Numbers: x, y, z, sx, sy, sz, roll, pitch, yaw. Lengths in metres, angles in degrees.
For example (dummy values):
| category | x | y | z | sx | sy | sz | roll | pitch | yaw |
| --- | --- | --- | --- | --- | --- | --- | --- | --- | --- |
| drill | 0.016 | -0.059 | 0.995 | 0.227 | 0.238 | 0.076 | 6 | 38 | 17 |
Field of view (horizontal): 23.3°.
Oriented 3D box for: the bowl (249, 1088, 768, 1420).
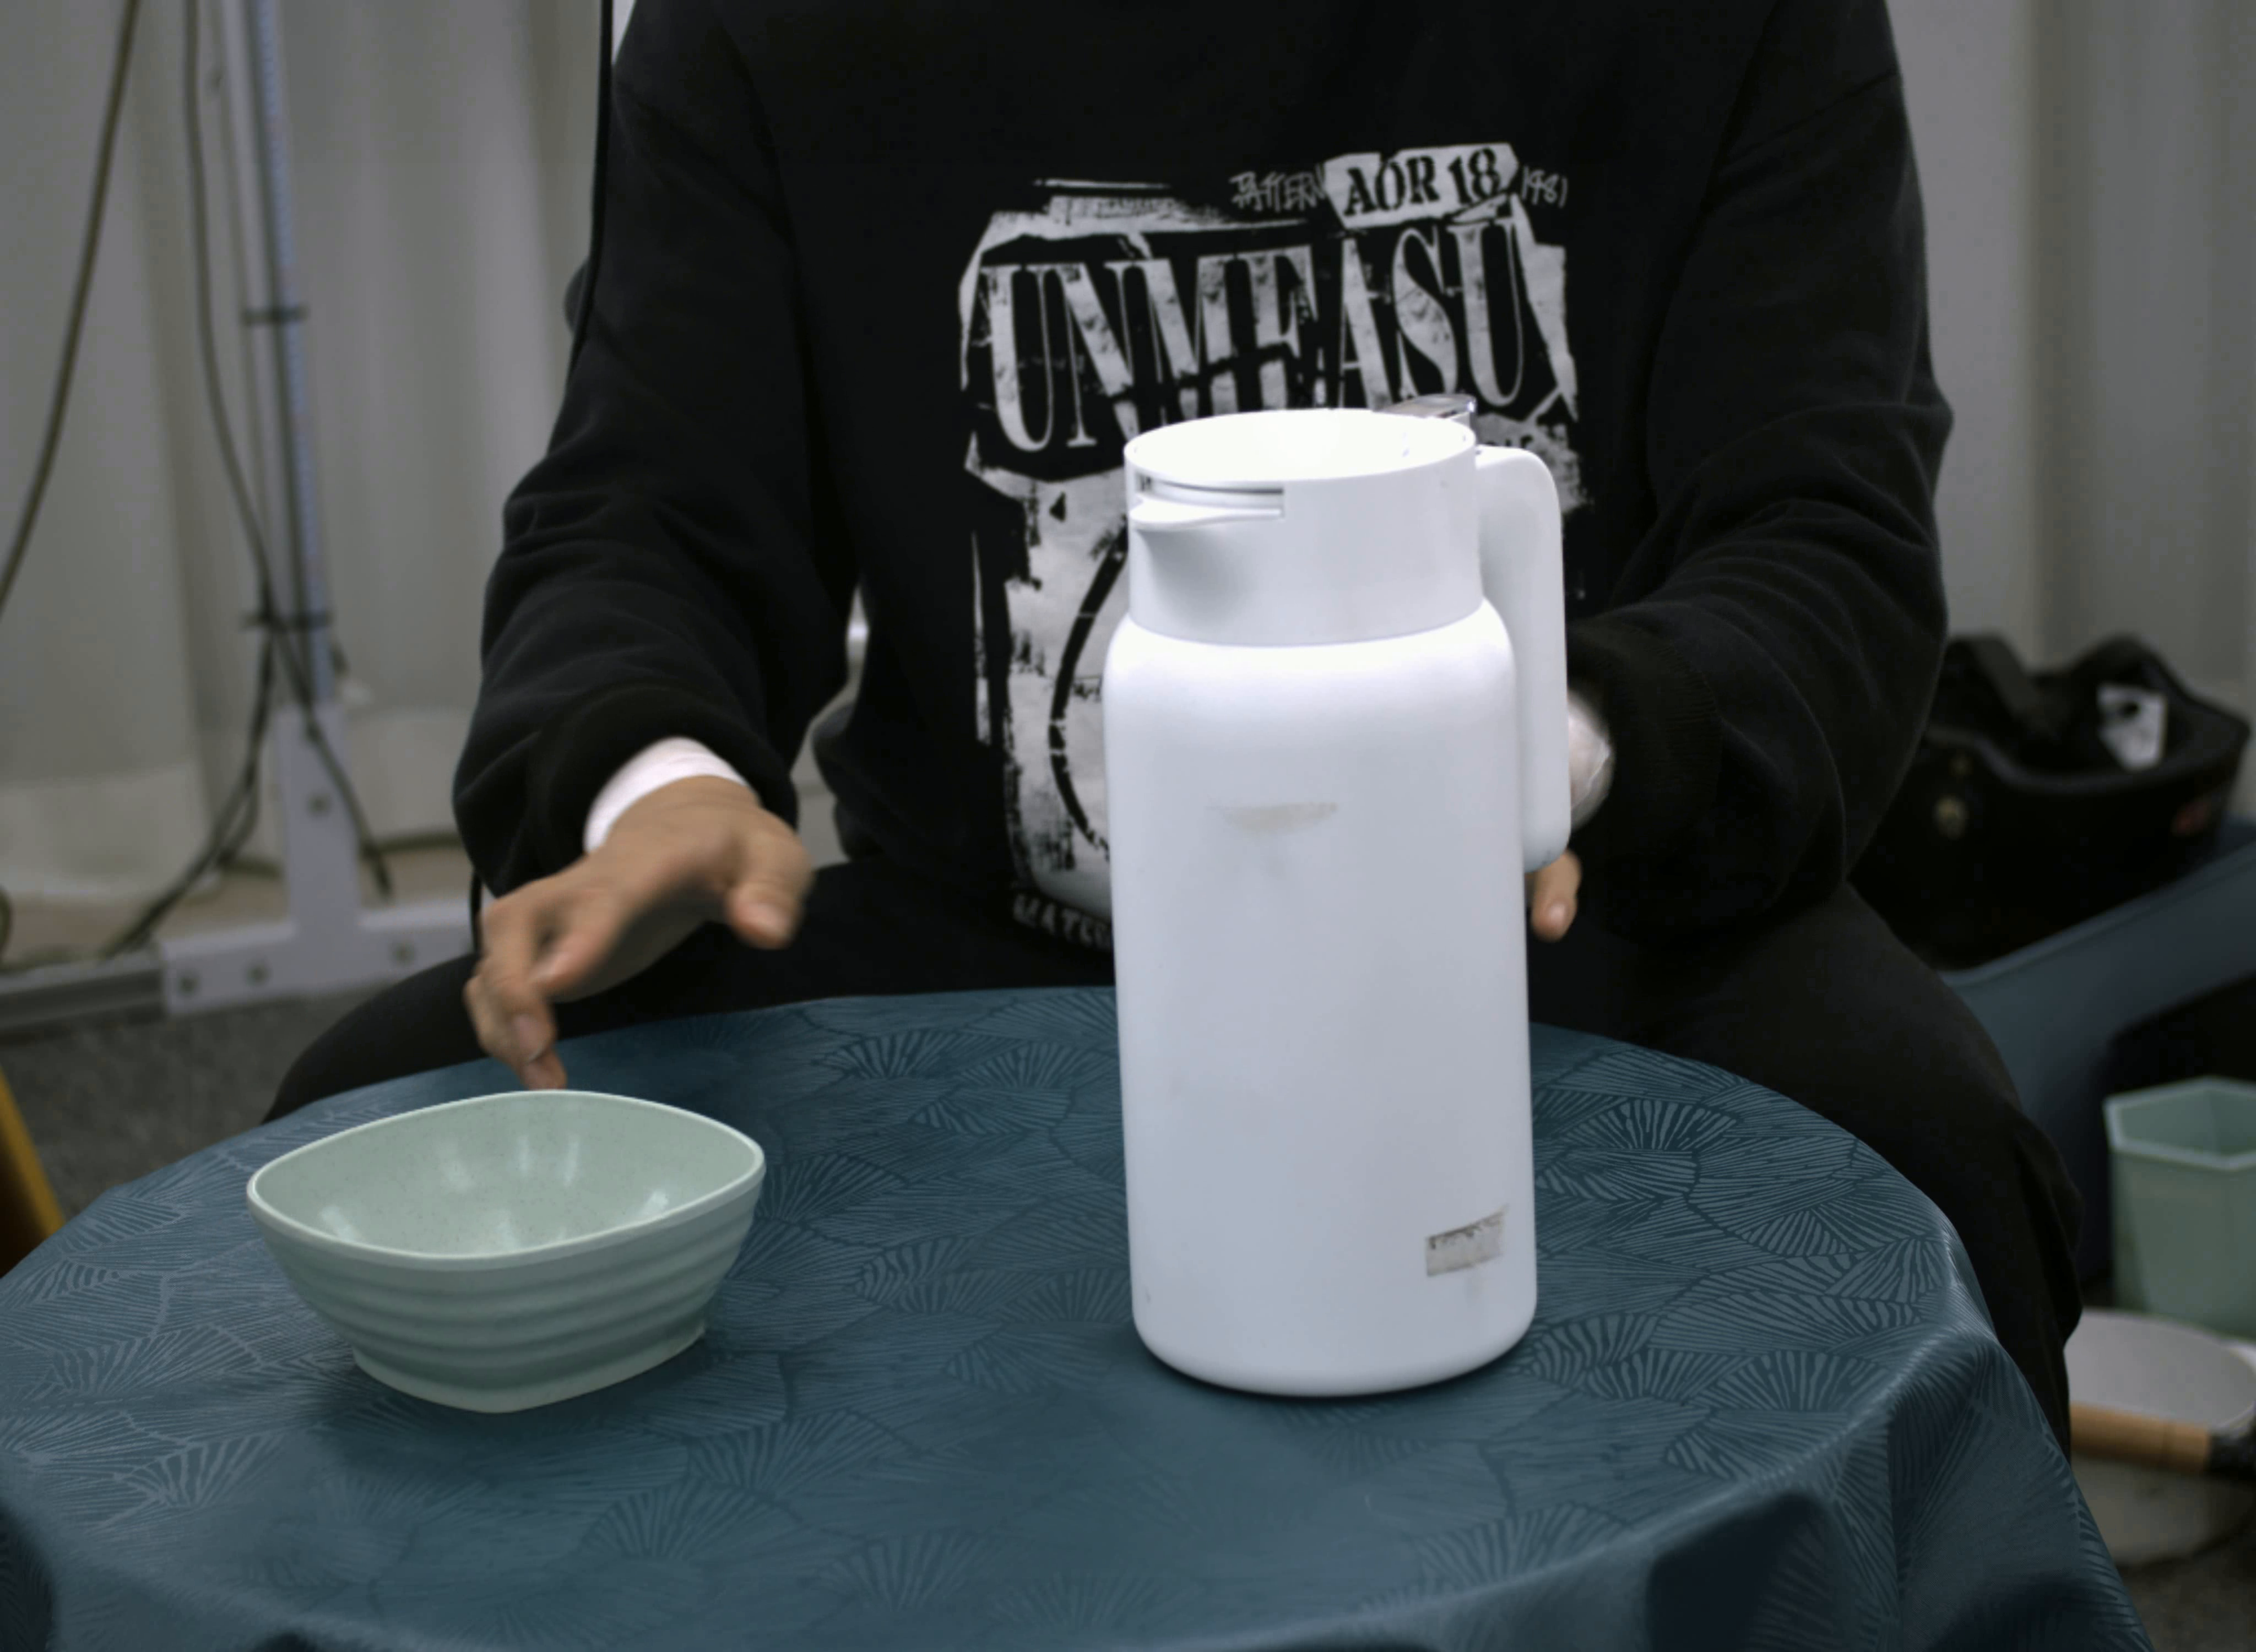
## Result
| category | x | y | z | sx | sy | sz | roll | pitch | yaw |
| --- | --- | --- | --- | --- | --- | --- | --- | --- | --- |
| bowl | -0.178 | 0.128 | 1.593 | 0.151 | 0.058 | 0.152 | -3 | 15 | 1 |

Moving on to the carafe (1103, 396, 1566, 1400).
| category | x | y | z | sx | sy | sz | roll | pitch | yaw |
| --- | --- | --- | --- | --- | --- | --- | --- | --- | --- |
| carafe | 0.064 | 0.016 | 1.560 | 0.124 | 0.268 | 0.172 | 6 | 16 | 39 |
